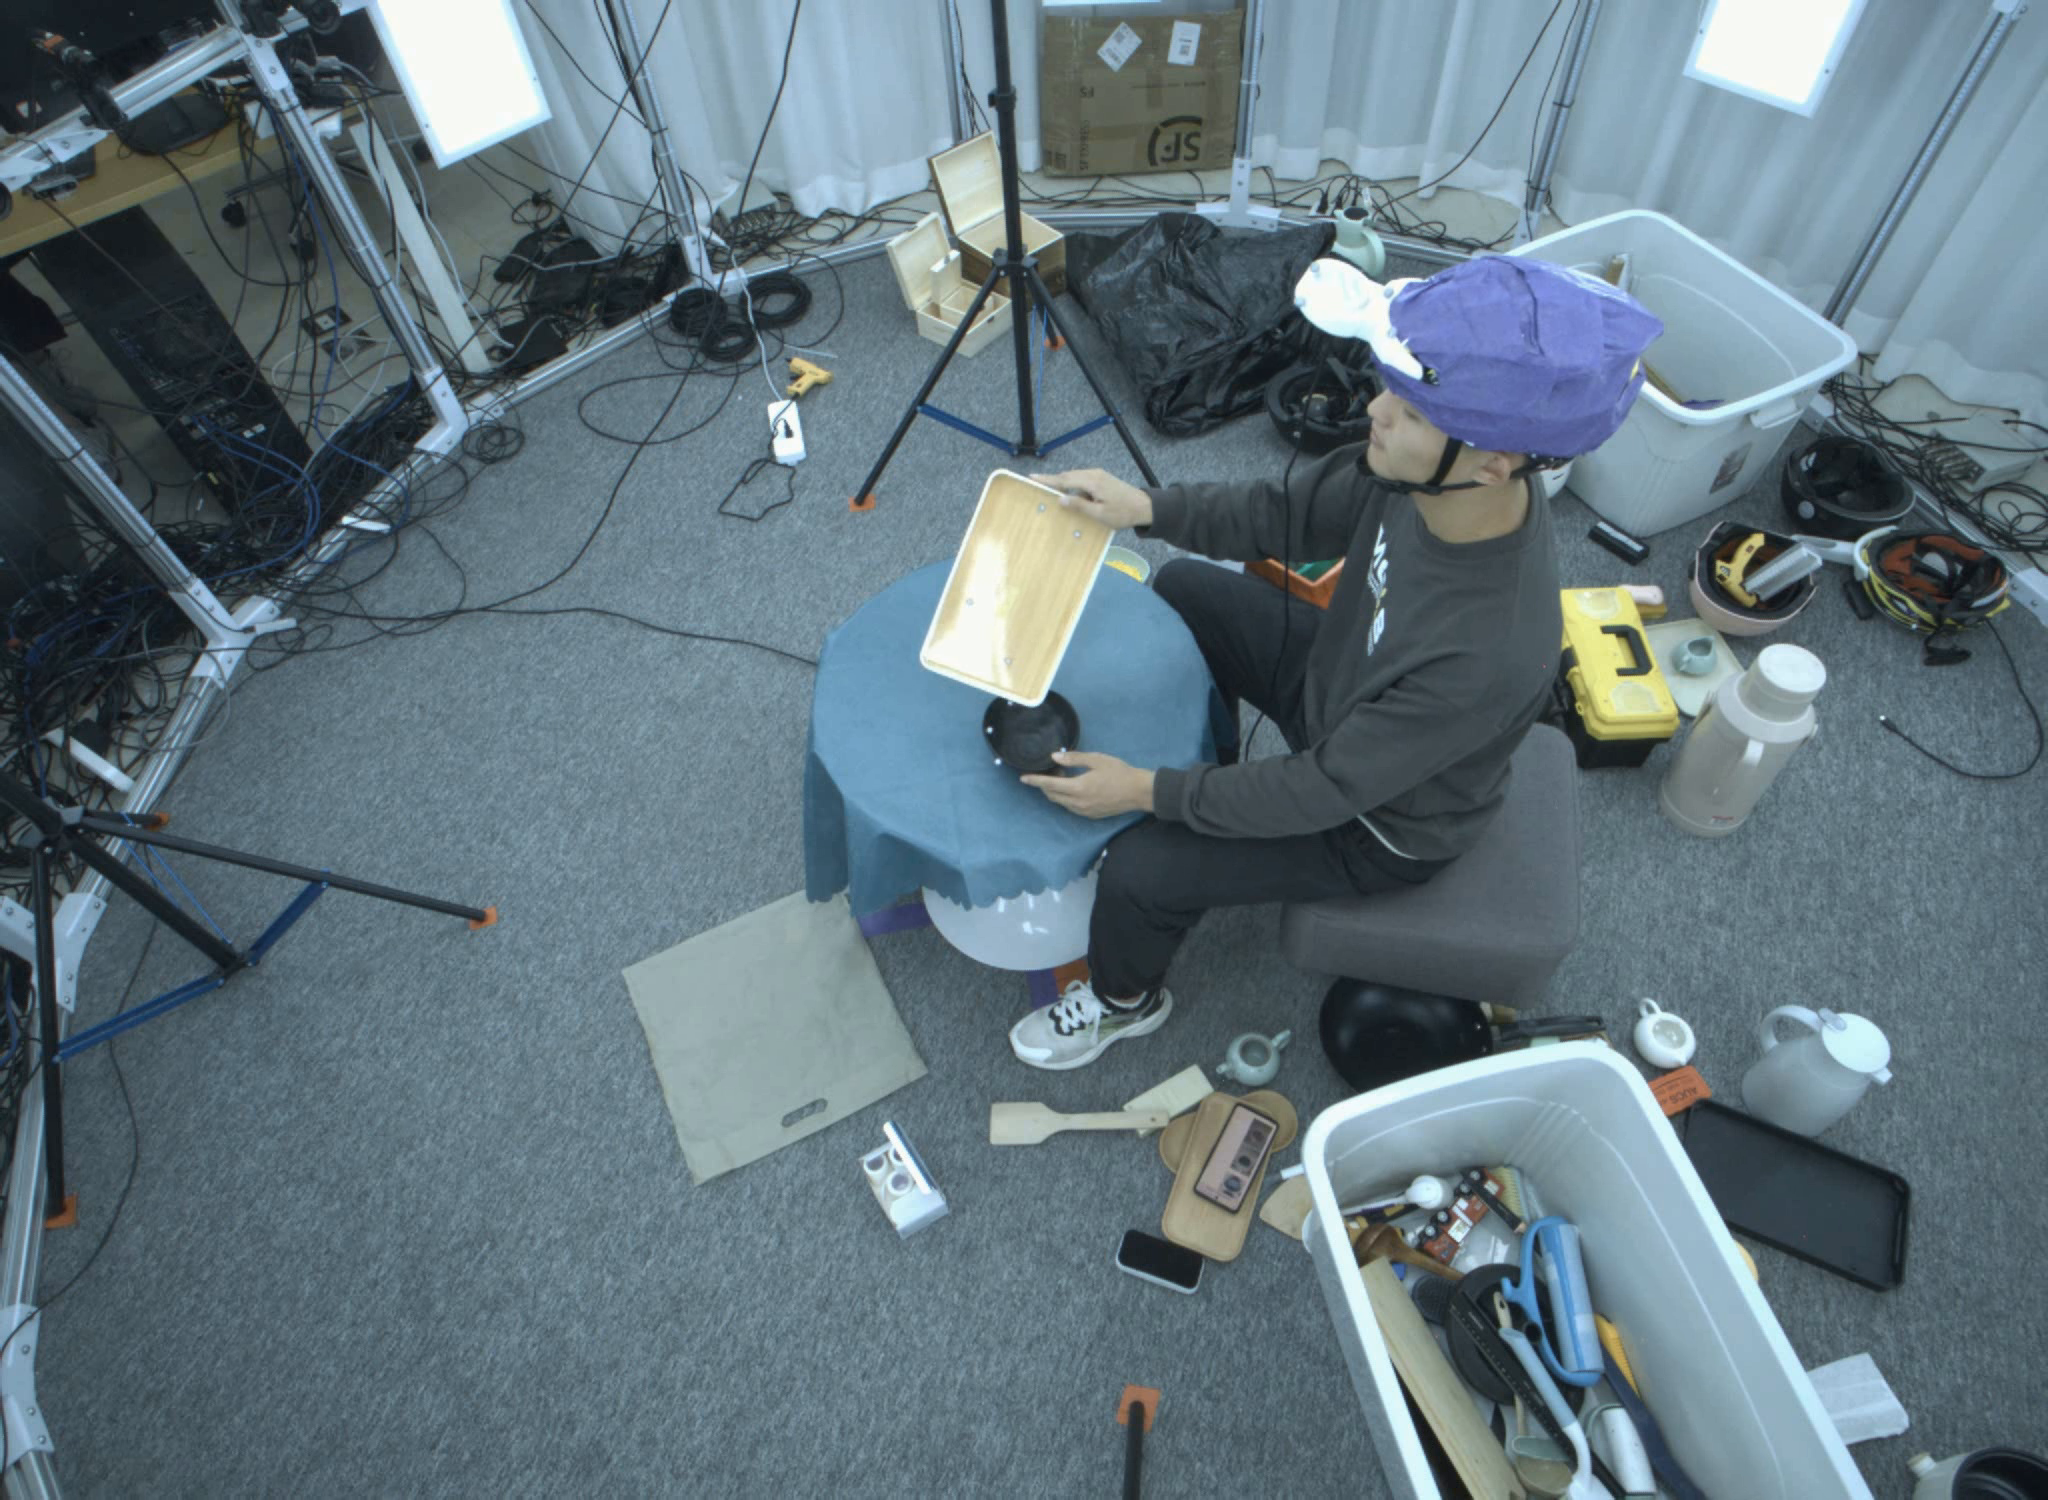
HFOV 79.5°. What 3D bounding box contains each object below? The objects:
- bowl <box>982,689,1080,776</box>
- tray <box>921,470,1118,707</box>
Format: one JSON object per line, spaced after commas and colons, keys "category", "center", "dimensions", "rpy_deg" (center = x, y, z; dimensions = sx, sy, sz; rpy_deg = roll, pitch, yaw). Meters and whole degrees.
{"category": "bowl", "center": [0.010, -0.017, 1.756], "dimensions": [0.138, 0.067, 0.167], "rpy_deg": [-8, 47, -6]}
{"category": "tray", "center": [-0.009, -0.224, 1.724], "dimensions": [0.193, 0.300, 0.027], "rpy_deg": [20, 17, -12]}
